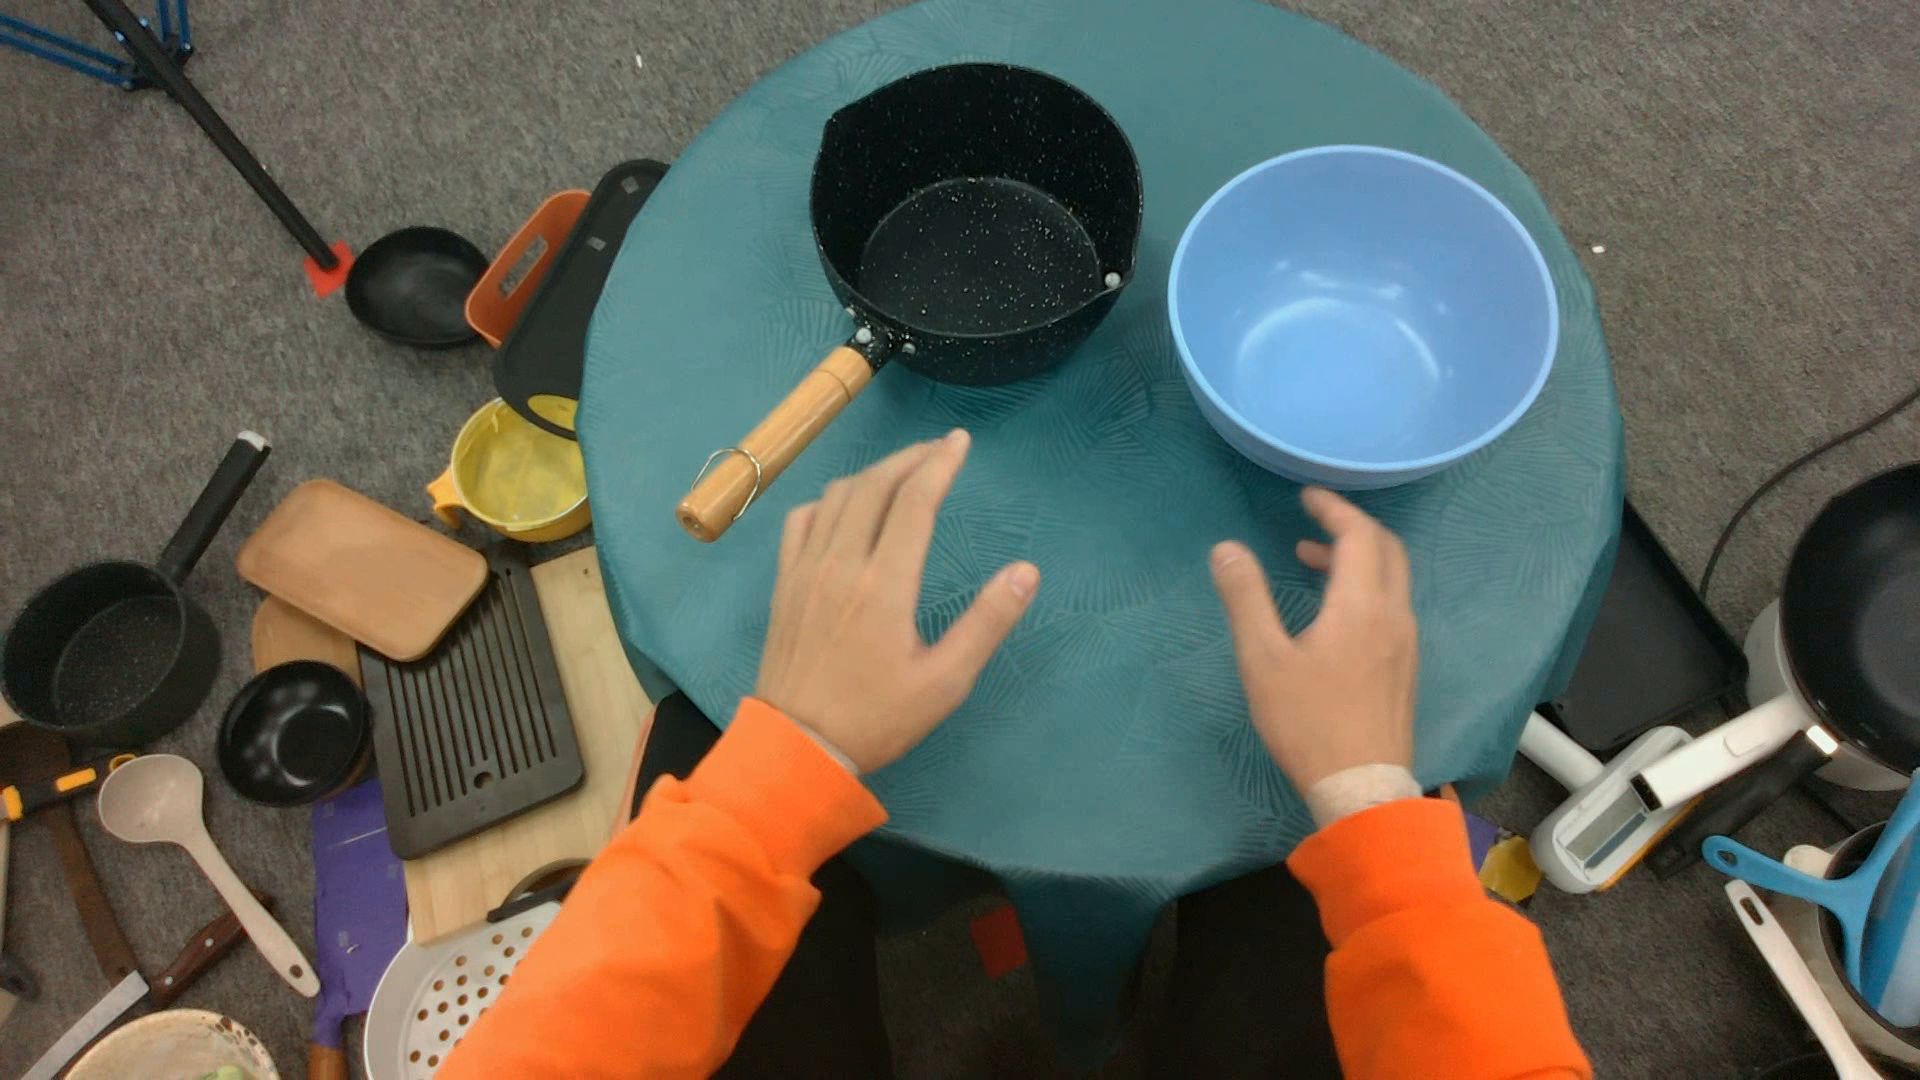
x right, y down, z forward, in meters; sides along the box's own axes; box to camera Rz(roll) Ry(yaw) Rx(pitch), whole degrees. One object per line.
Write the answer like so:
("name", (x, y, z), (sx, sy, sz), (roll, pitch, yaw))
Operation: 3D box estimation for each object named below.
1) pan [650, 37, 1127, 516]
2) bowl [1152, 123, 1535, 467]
("pan", (-0.044, -0.129, 0.755), (0.207, 0.108, 0.344), (31, 70, 11))
("bowl", (0.198, -0.118, 0.752), (0.196, 0.095, 0.197), (0, 67, 0))
